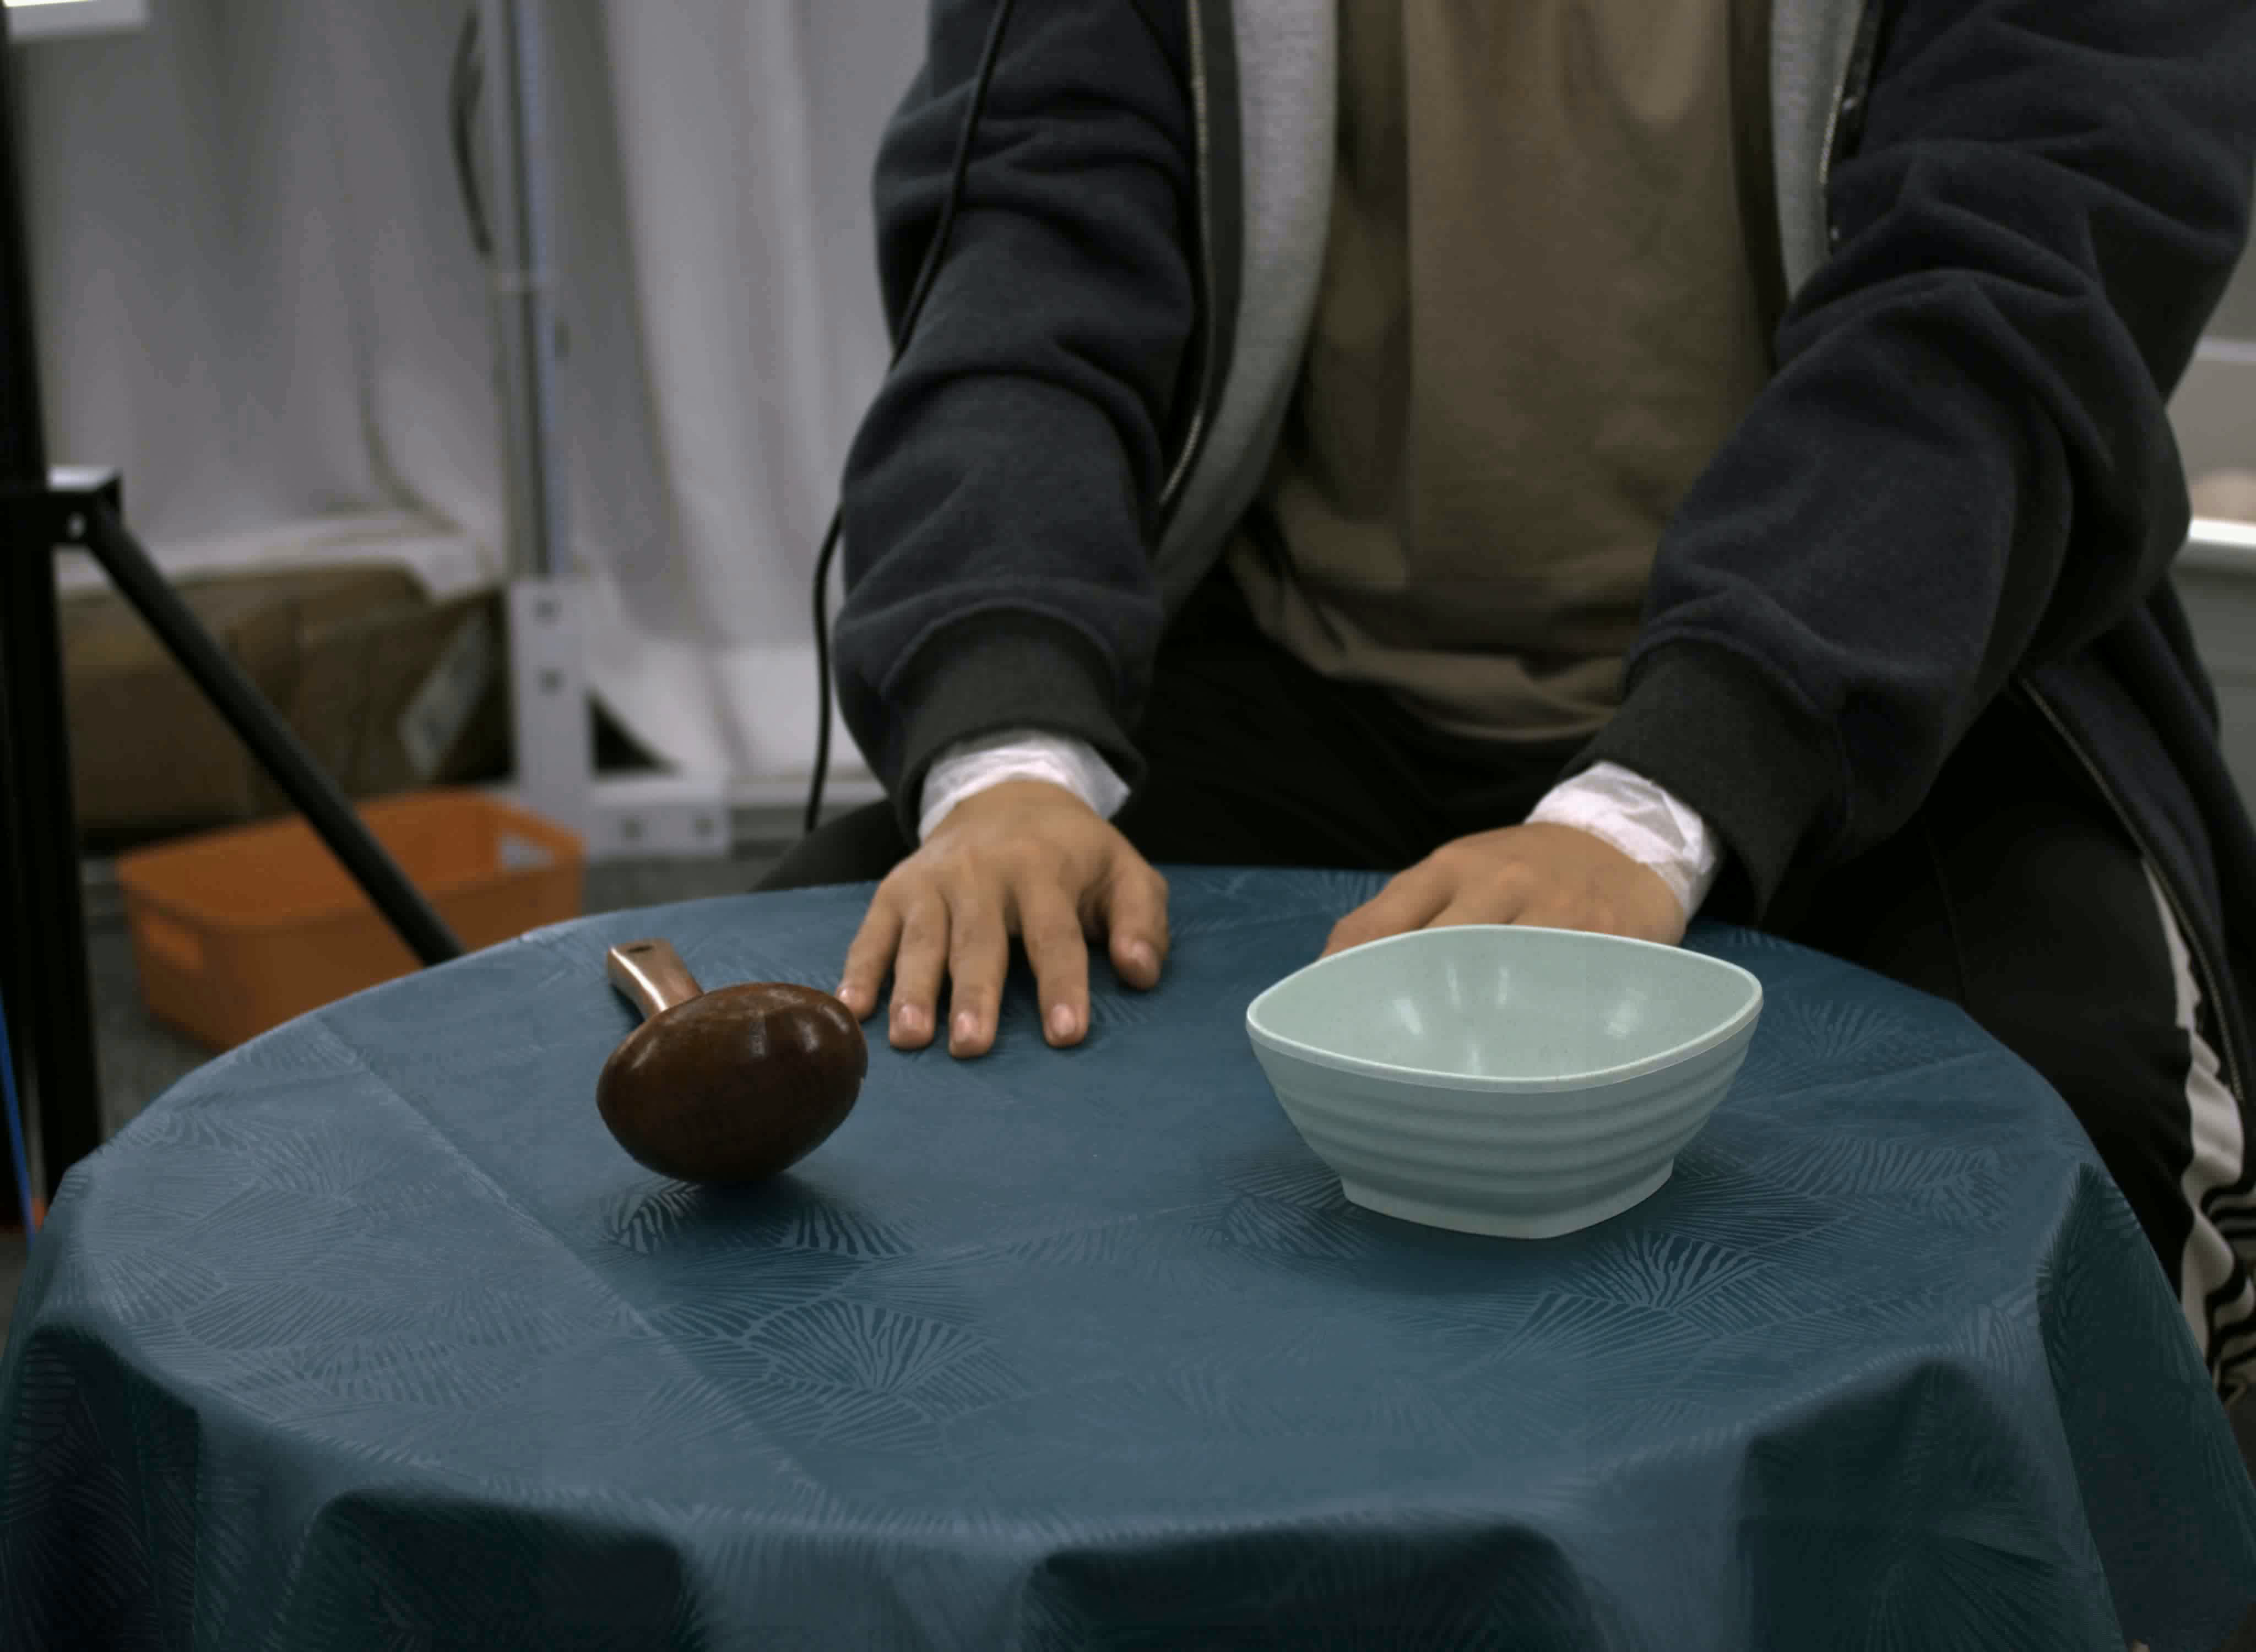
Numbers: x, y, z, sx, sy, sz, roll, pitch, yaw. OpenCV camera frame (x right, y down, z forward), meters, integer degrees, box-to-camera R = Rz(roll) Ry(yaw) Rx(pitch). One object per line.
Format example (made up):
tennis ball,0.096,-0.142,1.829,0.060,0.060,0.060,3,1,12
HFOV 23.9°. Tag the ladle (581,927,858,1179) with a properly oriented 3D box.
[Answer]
ladle,-0.137,0.046,1.657,0.081,0.076,0.277,-9,17,-8

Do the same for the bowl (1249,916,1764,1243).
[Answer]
bowl,0.111,0.077,1.543,0.151,0.058,0.152,-5,18,0
